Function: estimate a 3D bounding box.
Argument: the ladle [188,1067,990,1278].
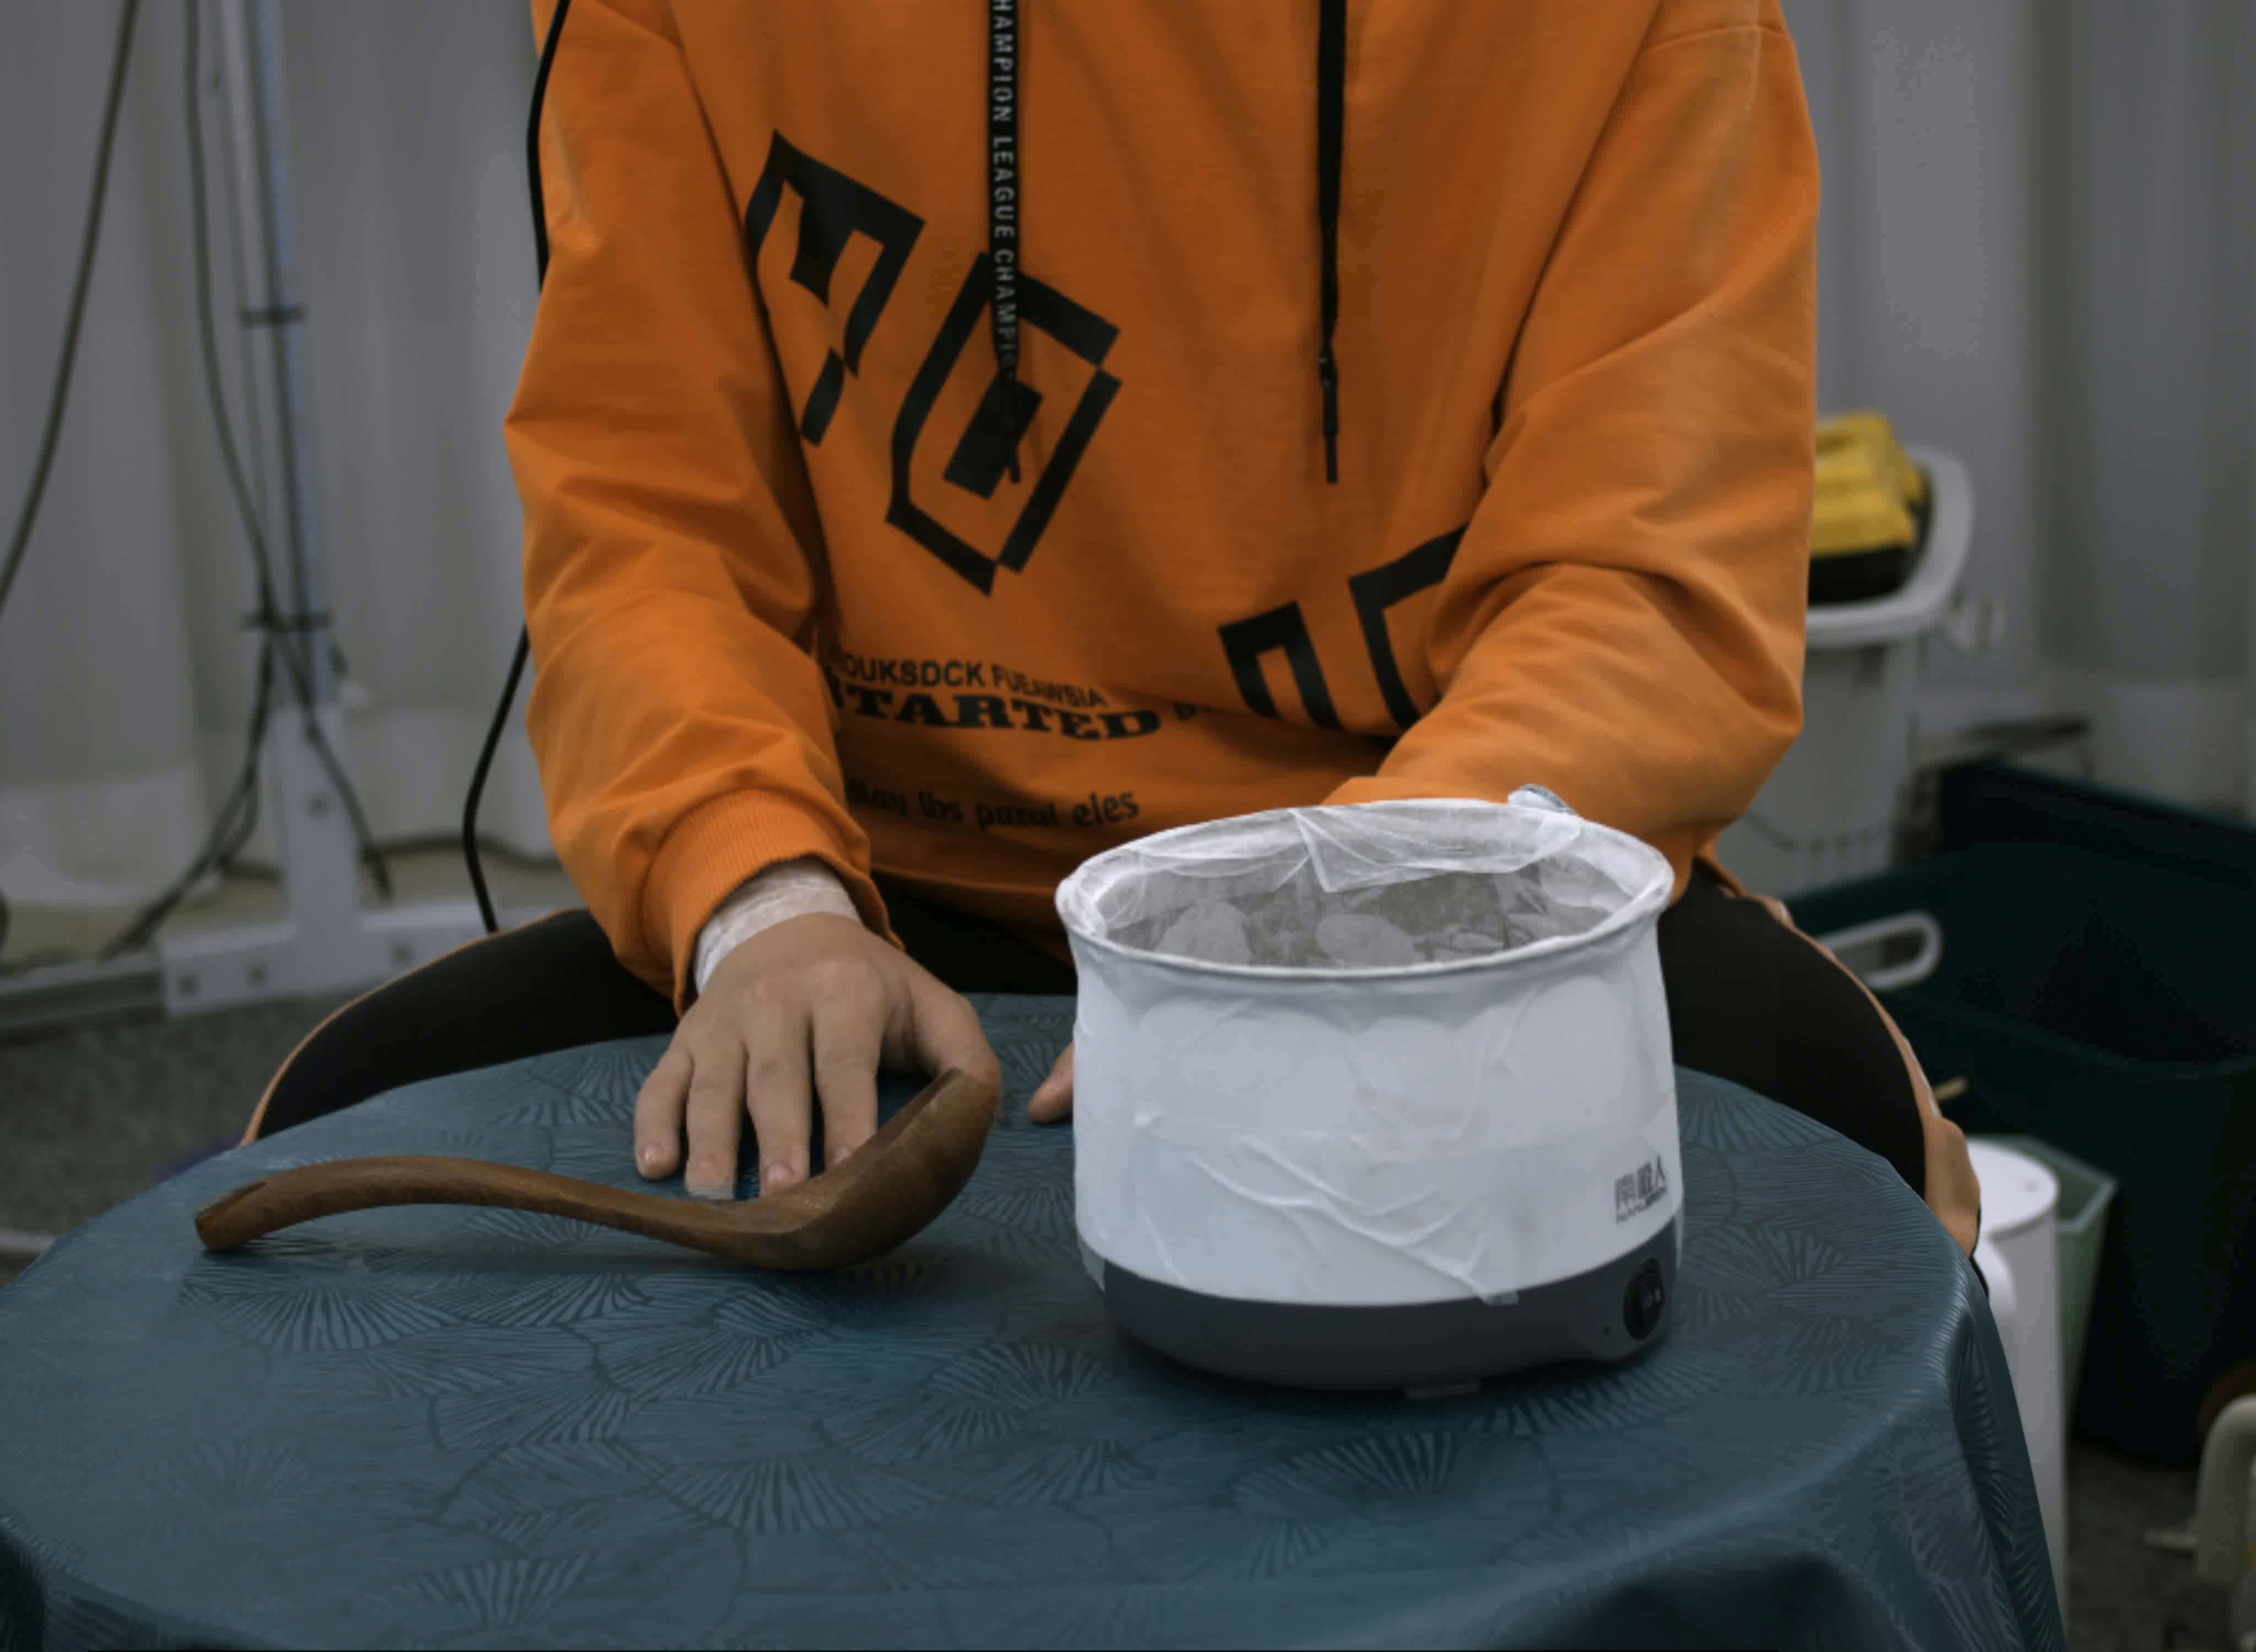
[{"bbox_3d":[-0.167,0.103,1.671,0.260,0.065,0.077,1,12,15],"label":"ladle"}]

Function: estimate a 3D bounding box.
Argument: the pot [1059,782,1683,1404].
[{"bbox_3d":[0.085,0.071,1.599,0.179,0.136,0.234,7,18,31],"label":"pot"}]
